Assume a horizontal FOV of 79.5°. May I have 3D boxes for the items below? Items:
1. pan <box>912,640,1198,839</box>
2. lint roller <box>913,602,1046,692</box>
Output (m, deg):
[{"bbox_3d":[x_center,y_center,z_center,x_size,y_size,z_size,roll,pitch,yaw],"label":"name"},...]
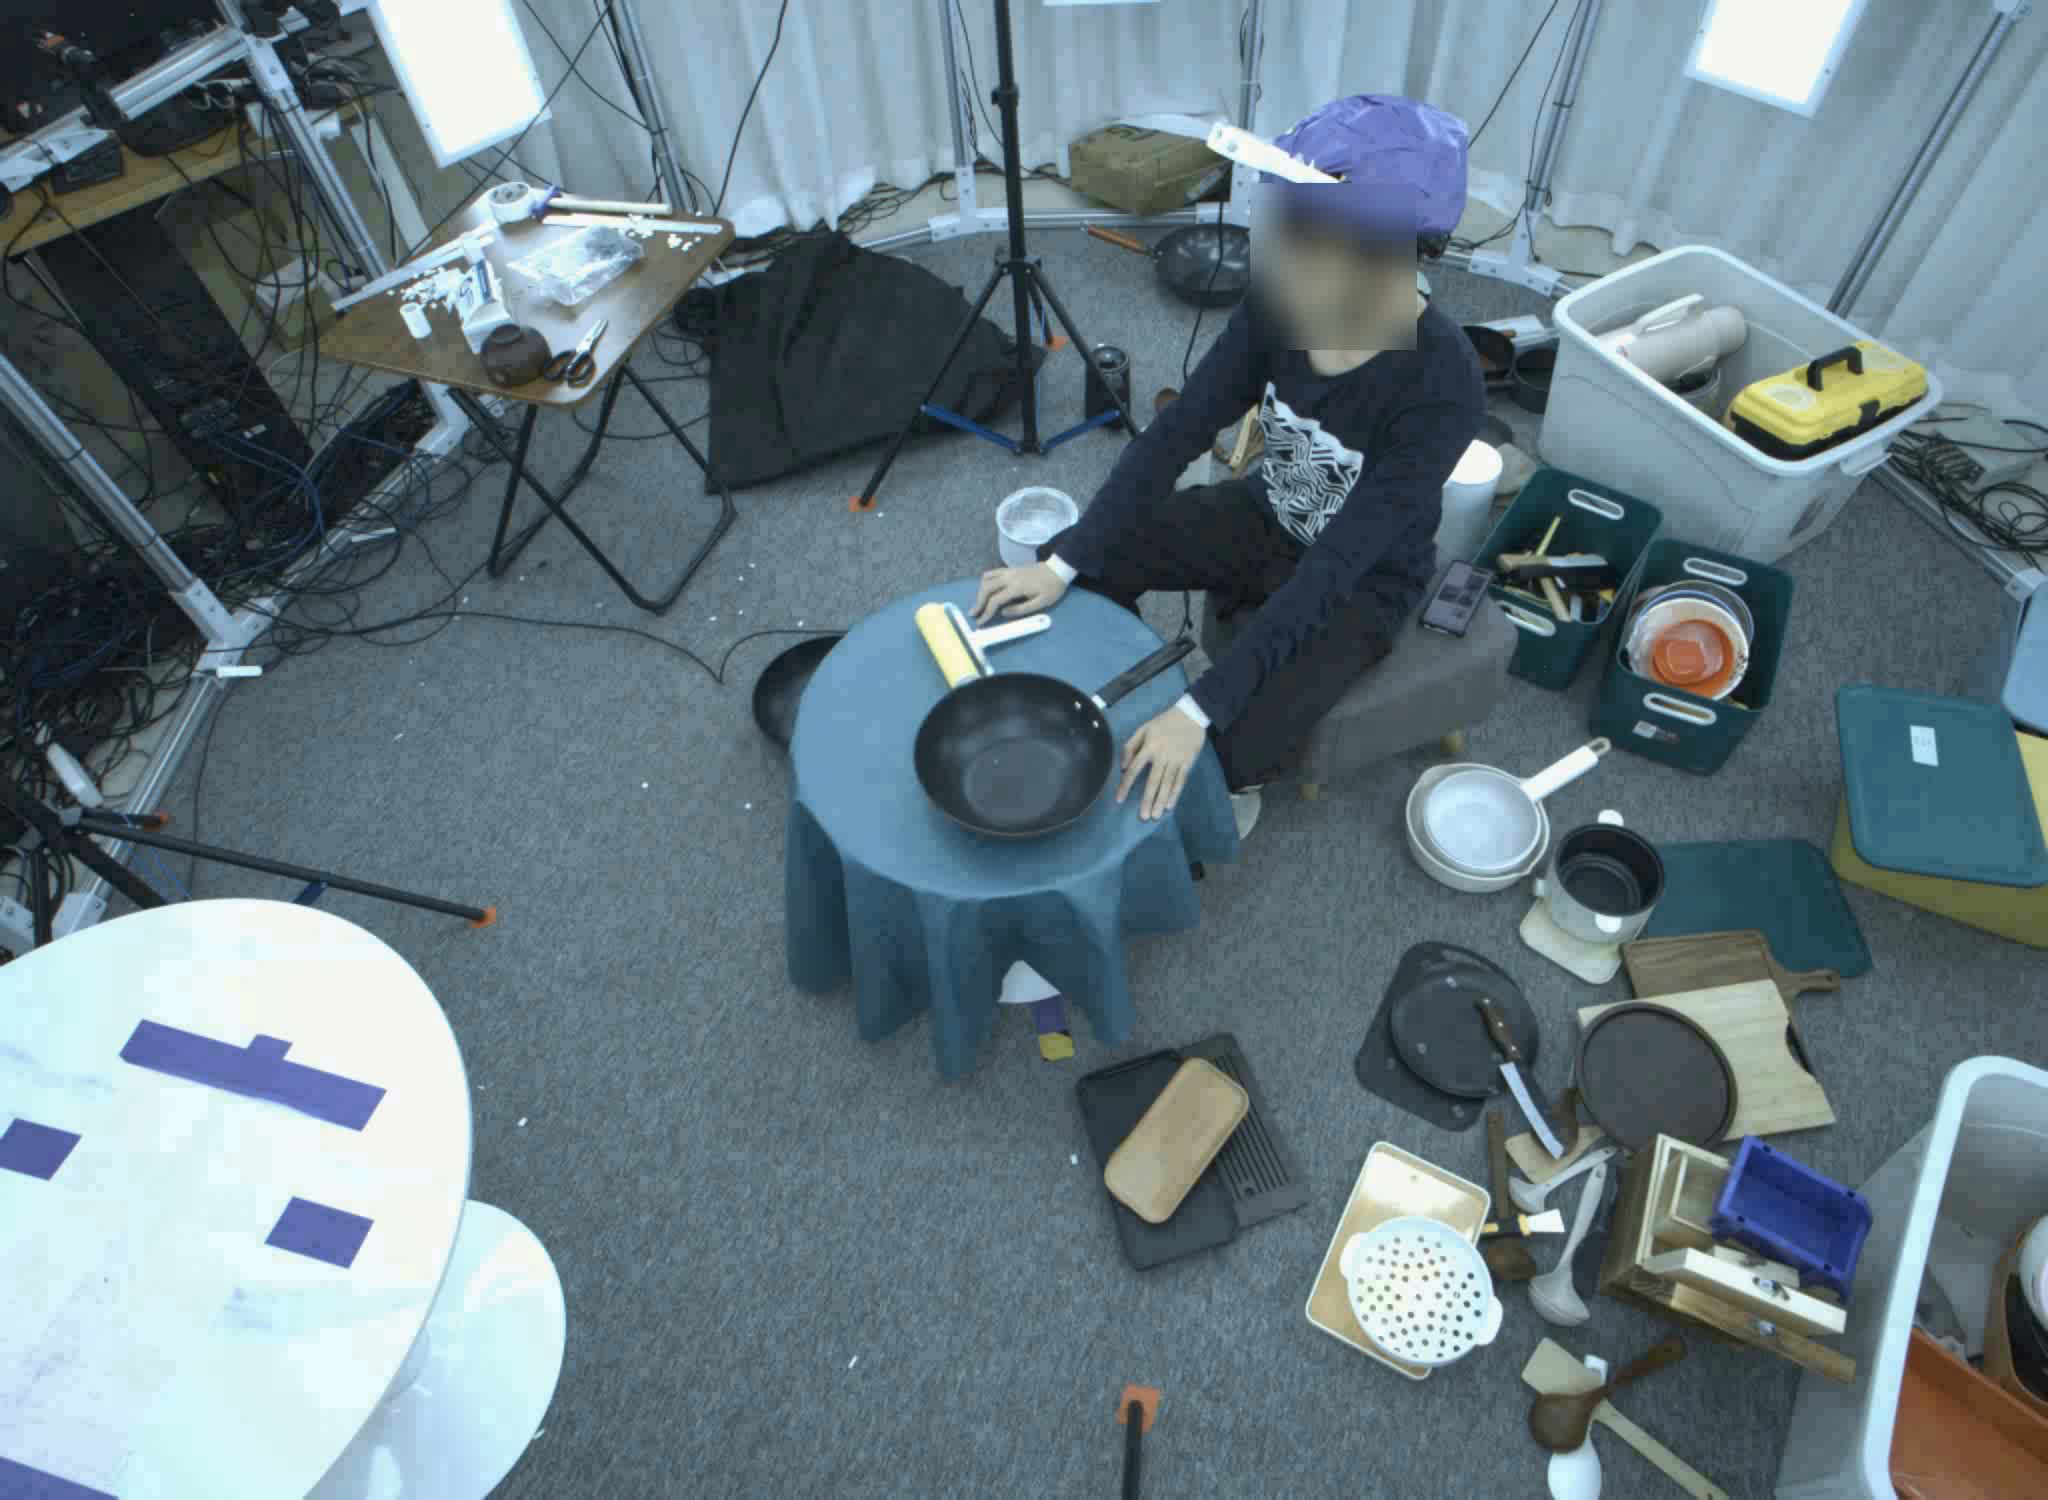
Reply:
[{"bbox_3d":[0.059,-0.027,1.762,0.467,0.088,0.283,-32,60,-20],"label":"pan"},{"bbox_3d":[-0.054,-0.183,1.897,0.193,0.052,0.171,-23,58,-13],"label":"lint roller"}]
